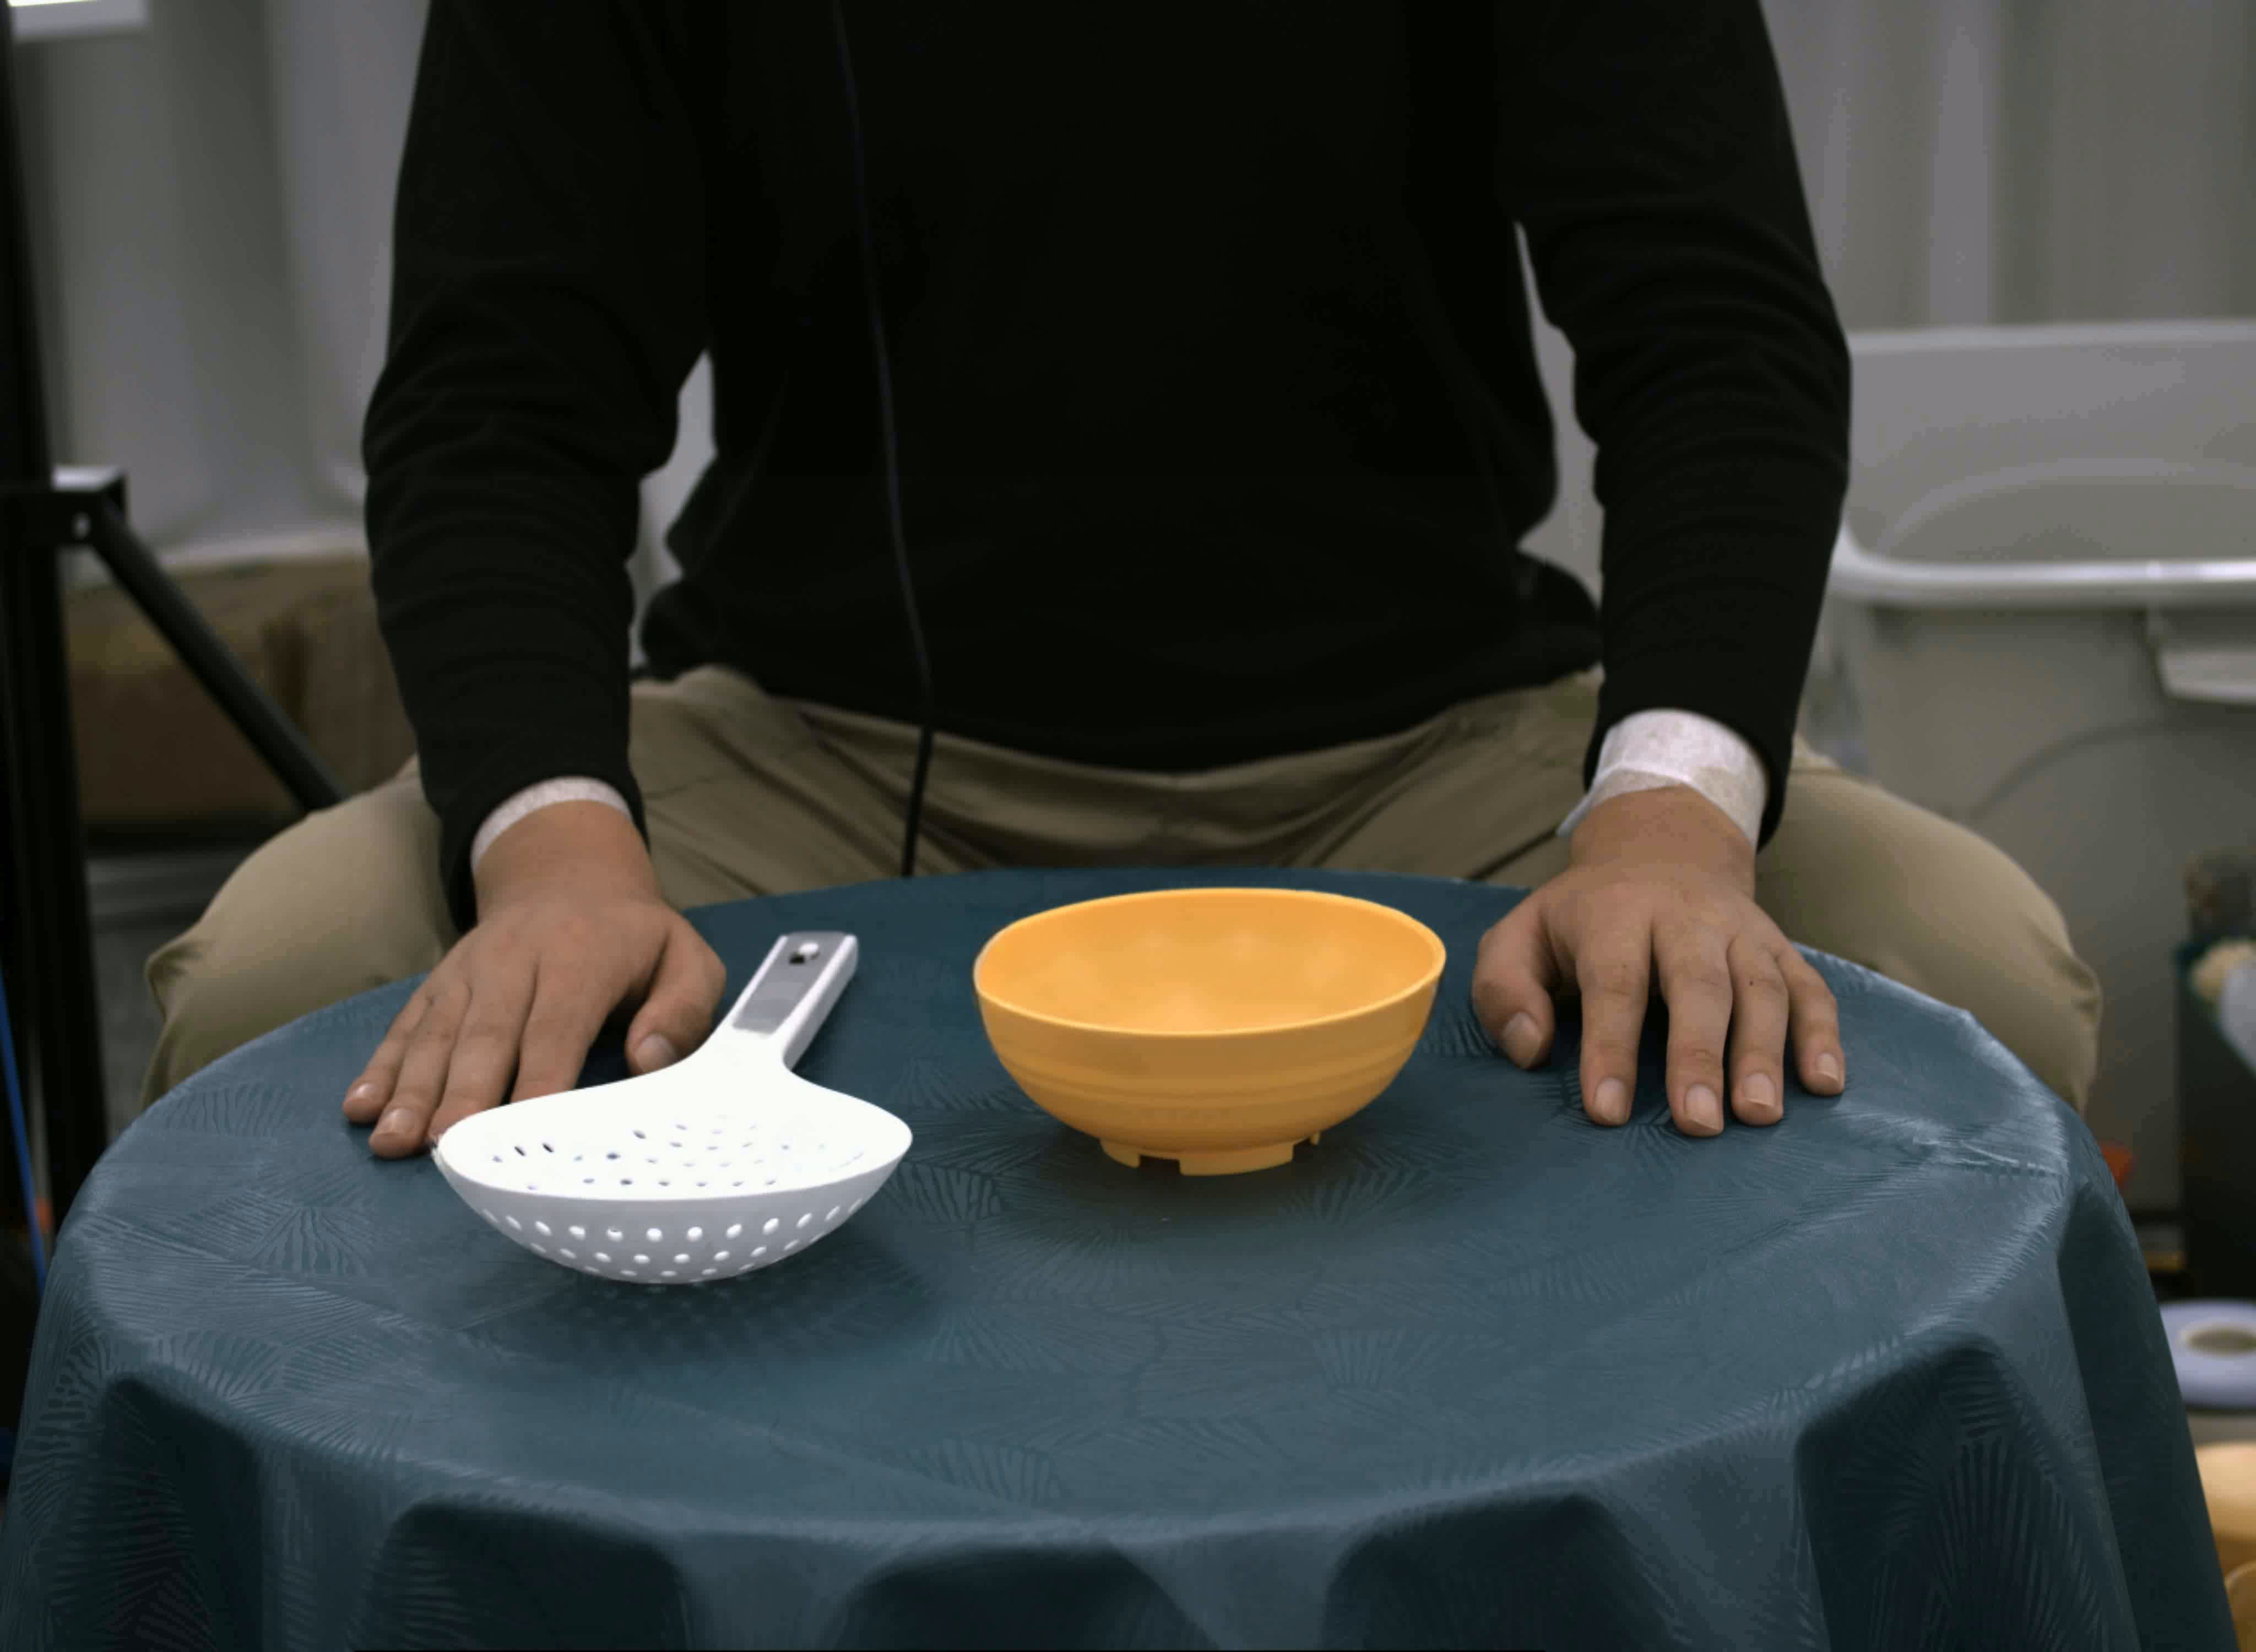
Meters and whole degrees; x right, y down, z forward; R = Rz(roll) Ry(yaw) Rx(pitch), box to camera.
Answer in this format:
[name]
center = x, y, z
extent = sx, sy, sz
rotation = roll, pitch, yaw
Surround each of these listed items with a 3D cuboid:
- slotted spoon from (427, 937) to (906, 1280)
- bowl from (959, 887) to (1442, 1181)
[slotted spoon]
center = -0.120, 0.075, 1.608
extent = 0.136, 0.046, 0.349
rotation = 0, 15, 6
[bowl]
center = 0.022, 0.068, 1.593
extent = 0.144, 0.060, 0.146
rotation = -1, 16, -1
